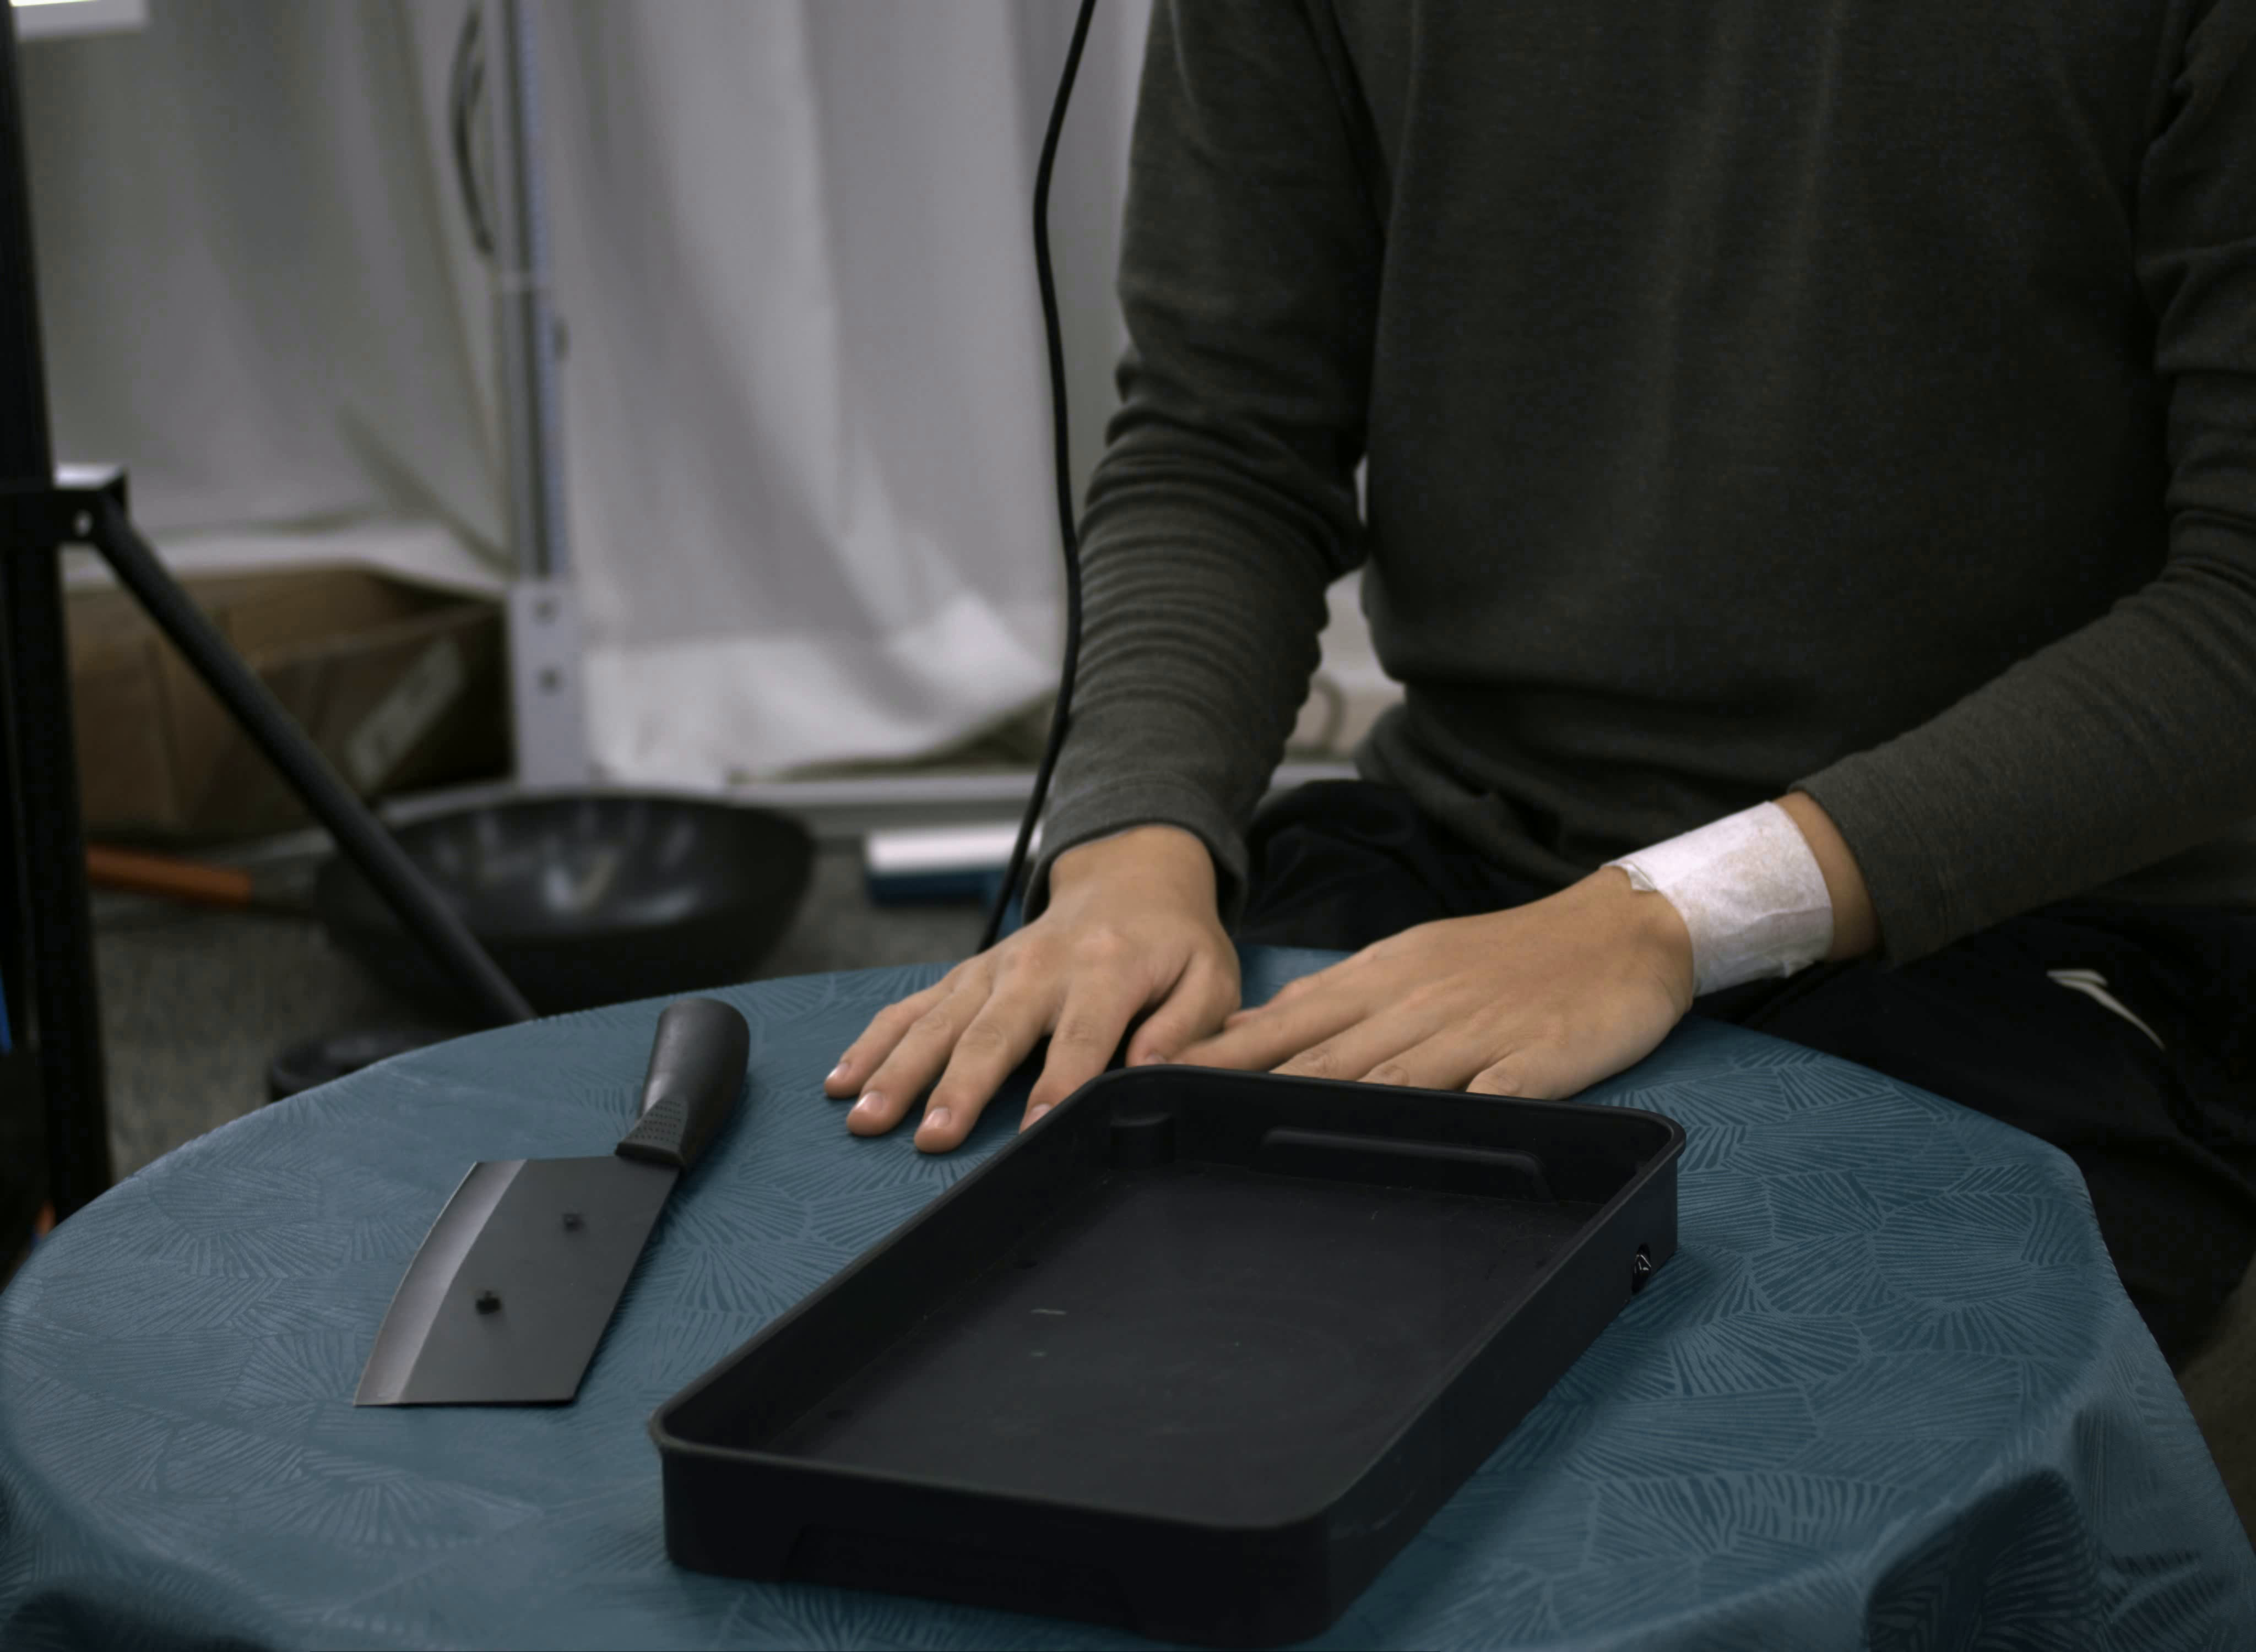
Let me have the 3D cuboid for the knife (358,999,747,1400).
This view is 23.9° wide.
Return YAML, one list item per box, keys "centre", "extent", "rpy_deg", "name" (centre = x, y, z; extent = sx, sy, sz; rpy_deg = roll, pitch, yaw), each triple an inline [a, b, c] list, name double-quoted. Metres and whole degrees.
- centre: [-0.161, 0.108, 1.562]
  extent: [0.081, 0.021, 0.301]
  rpy_deg: [-1, 17, 11]
  name: "knife"

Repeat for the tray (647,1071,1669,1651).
- centre: [0.018, 0.134, 1.402]
  extent: [0.187, 0.037, 0.314]
  rpy_deg: [4, 17, 22]
  name: "tray"
